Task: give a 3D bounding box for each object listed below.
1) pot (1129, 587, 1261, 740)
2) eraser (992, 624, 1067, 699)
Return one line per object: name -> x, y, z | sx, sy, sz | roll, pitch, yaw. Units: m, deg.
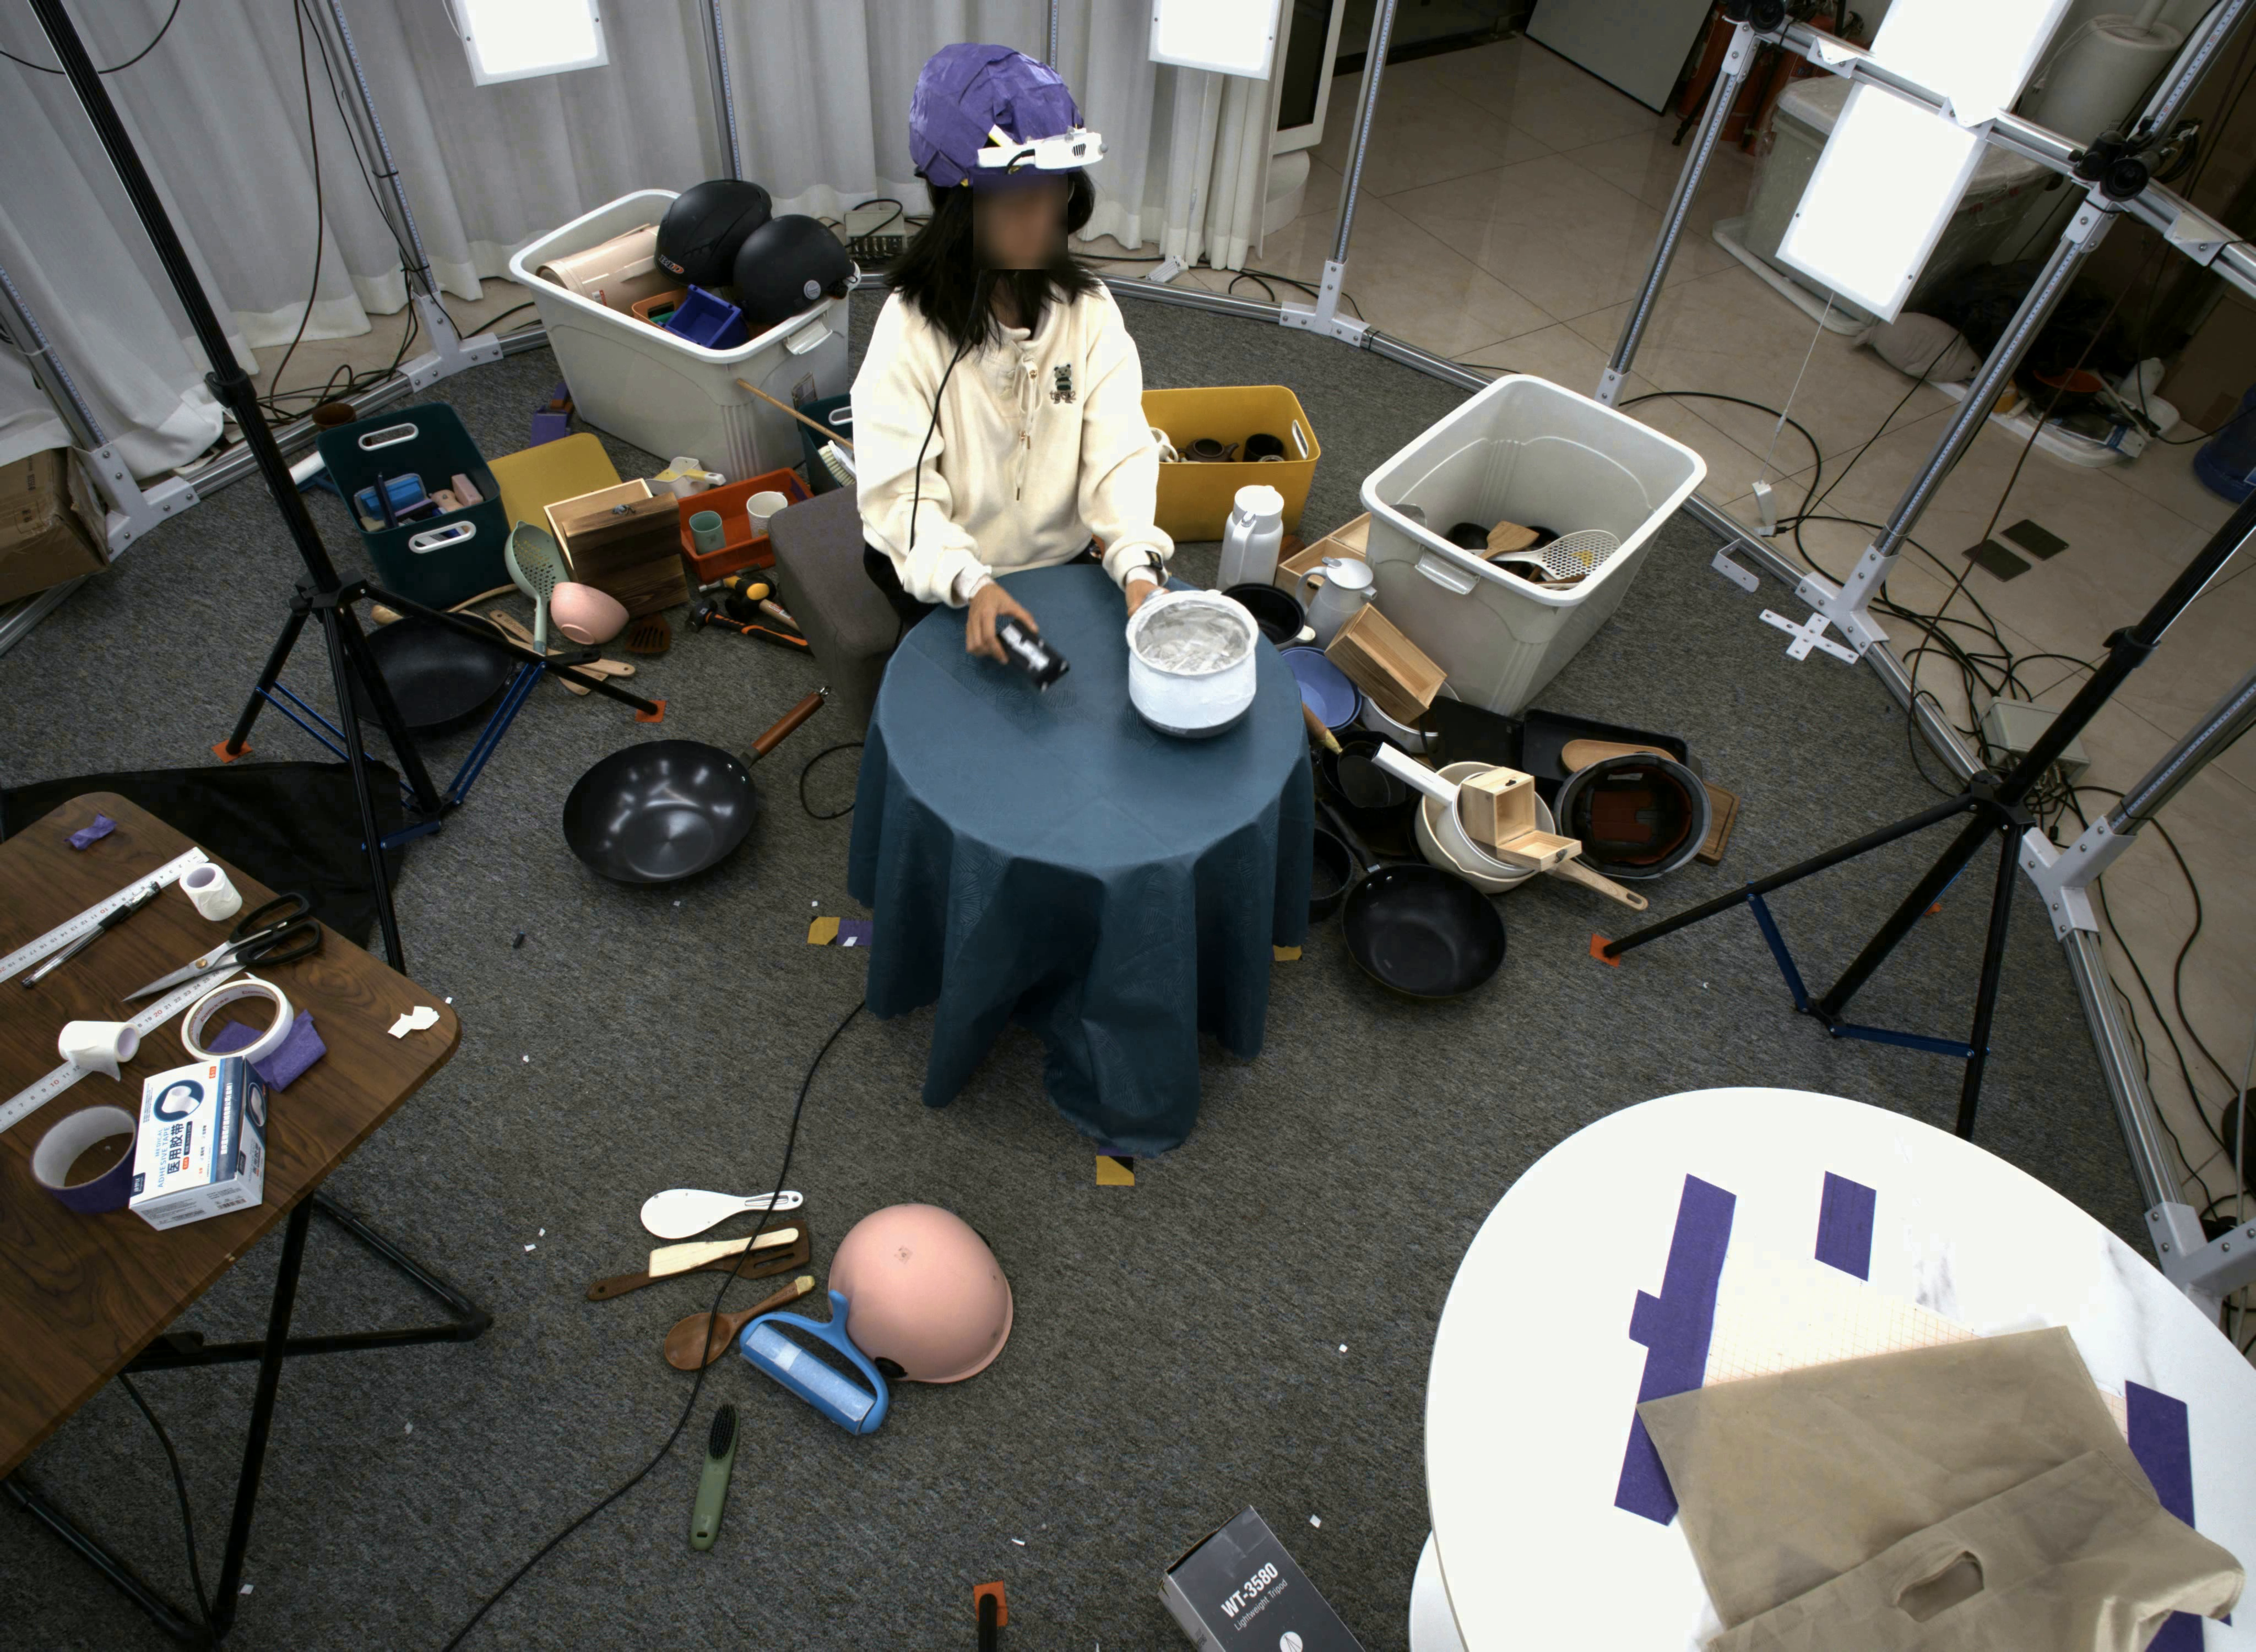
pot -> 0.077, -0.236, 1.785 | 0.179, 0.133, 0.239 | -21, 51, -18
eraser -> -0.137, -0.231, 1.797 | 0.053, 0.030, 0.128 | -37, 51, -7
